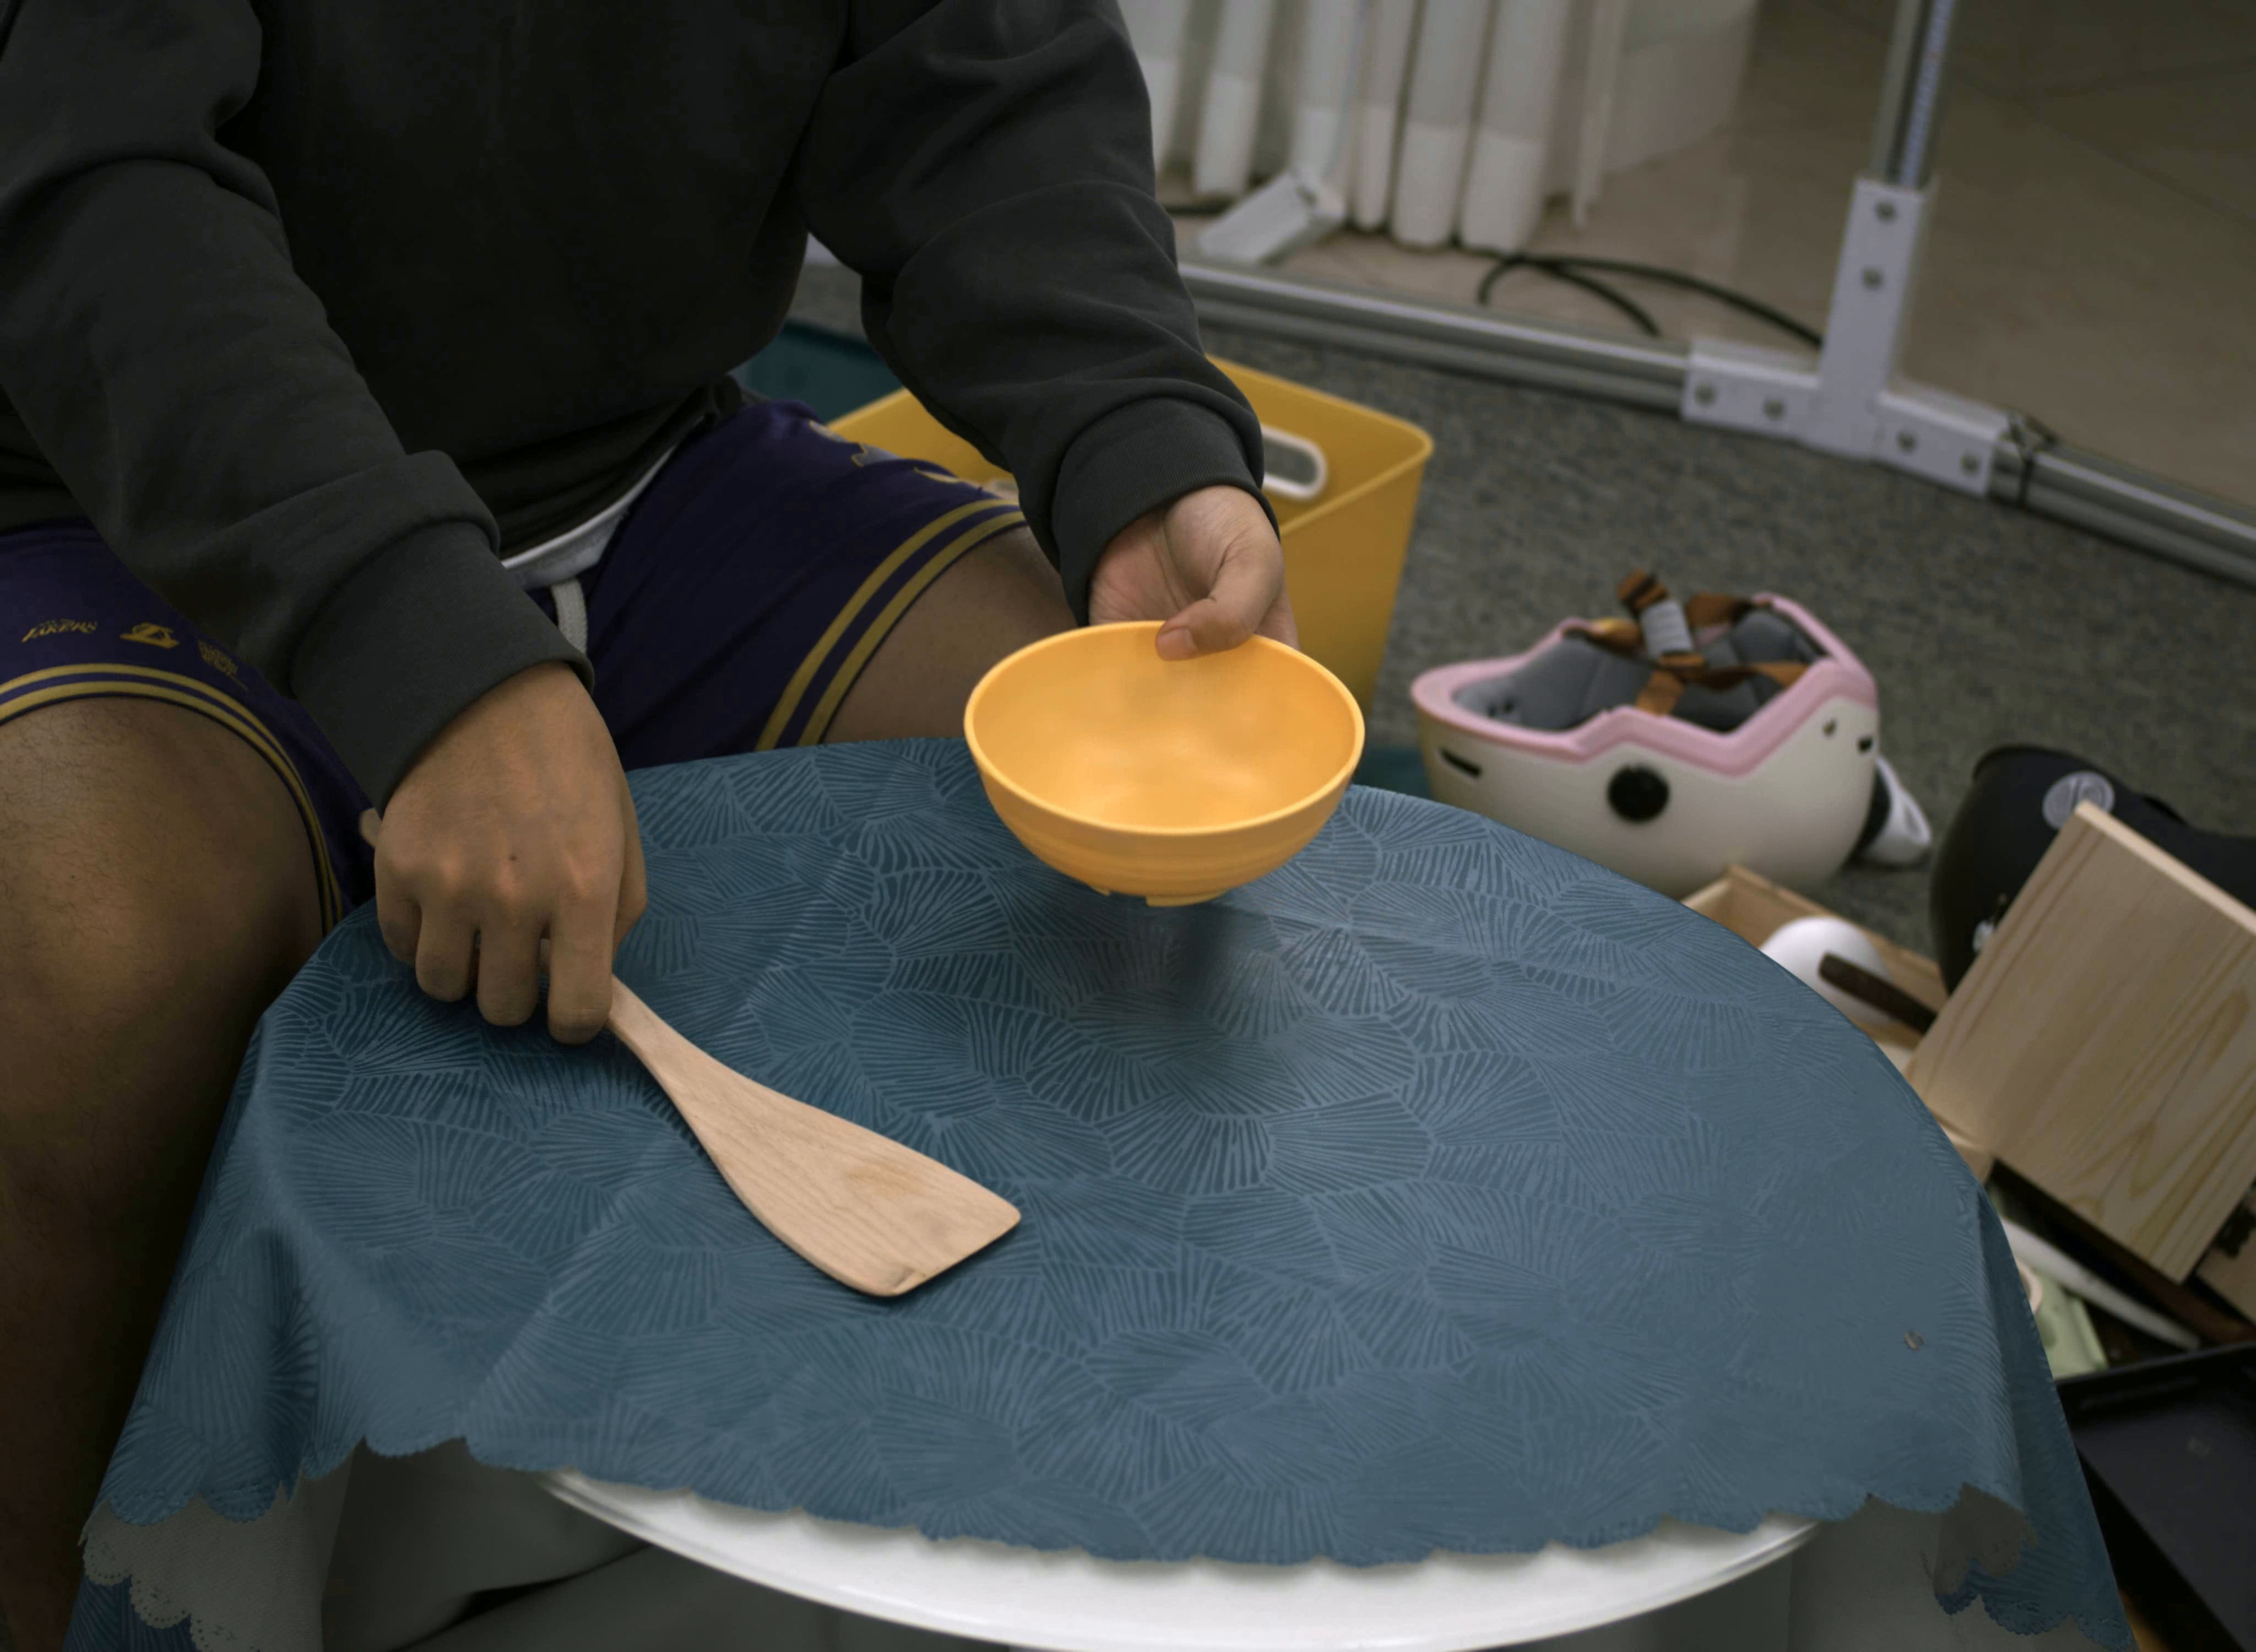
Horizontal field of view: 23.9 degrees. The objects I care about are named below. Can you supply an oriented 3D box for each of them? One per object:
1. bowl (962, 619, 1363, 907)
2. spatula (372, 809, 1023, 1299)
[{"bbox_3d":[0.011,-0.013,1.933,0.145,0.060,0.146,1,33,-1],"label":"bowl"},{"bbox_3d":[-0.160,0.072,1.836,0.079,0.016,0.330,-17,41,-39],"label":"spatula"}]
